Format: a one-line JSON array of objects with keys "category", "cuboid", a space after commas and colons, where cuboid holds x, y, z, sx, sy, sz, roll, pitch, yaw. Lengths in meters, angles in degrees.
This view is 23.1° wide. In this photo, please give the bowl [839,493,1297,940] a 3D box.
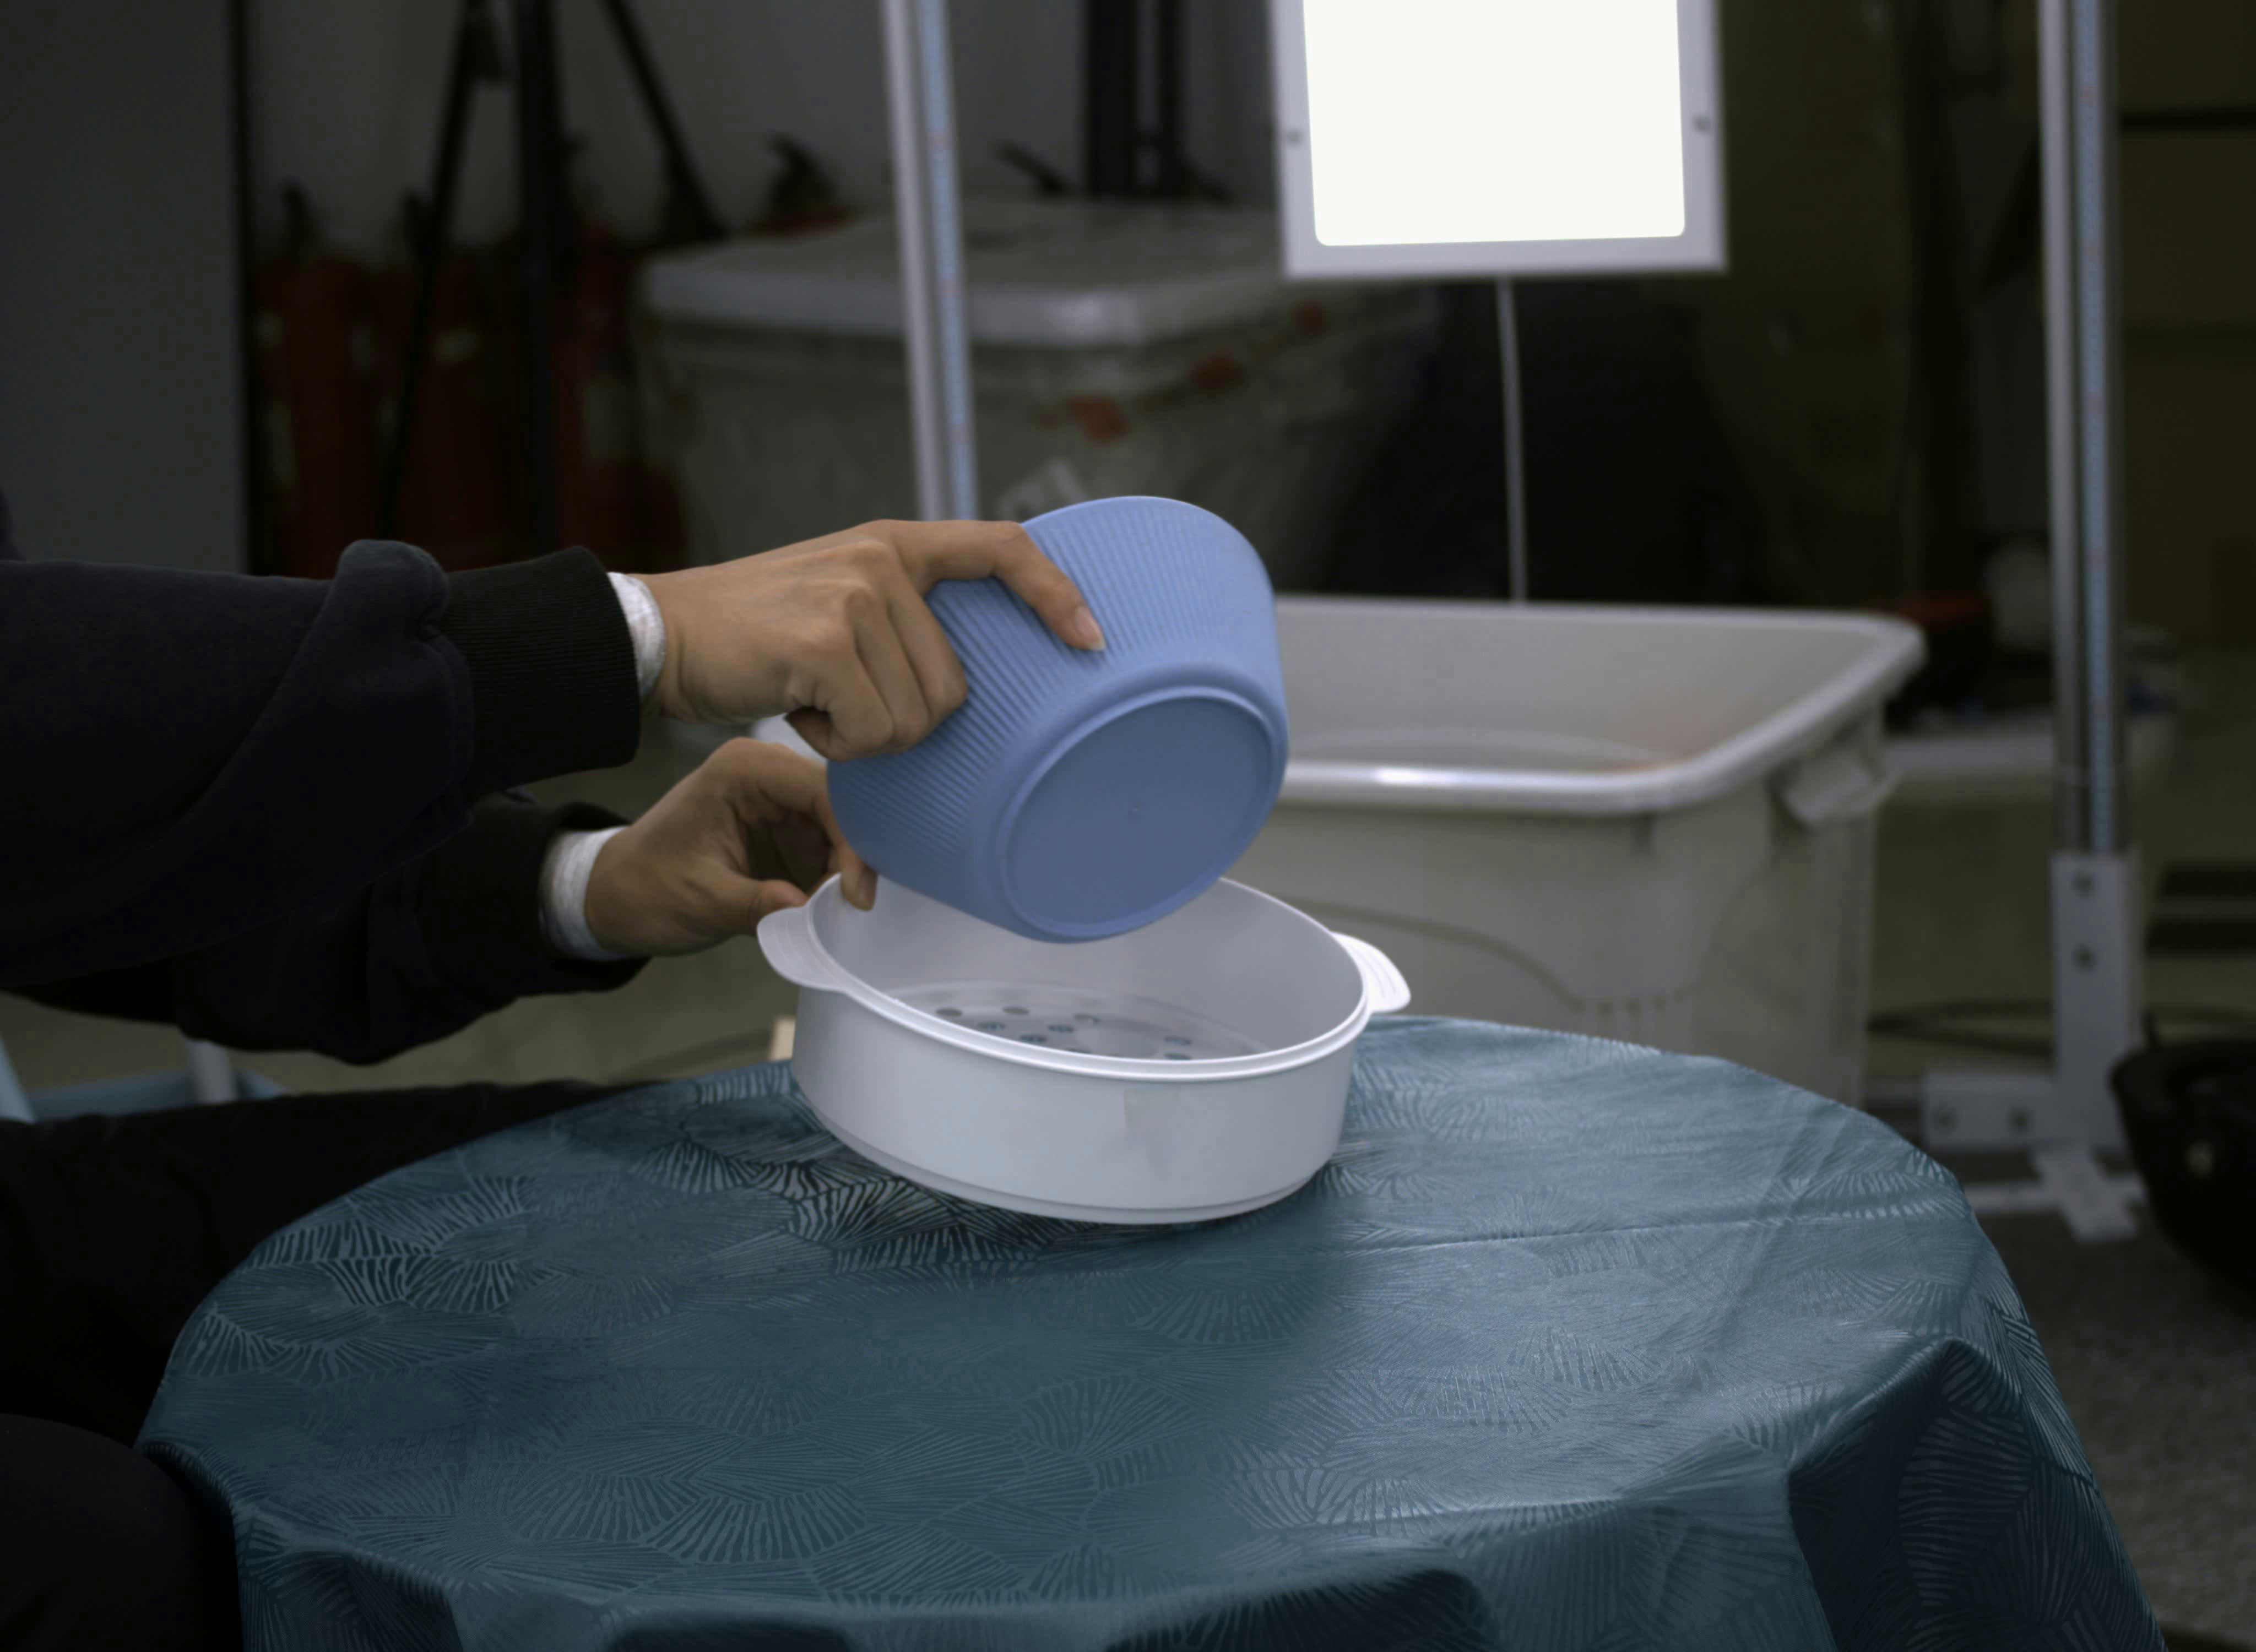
[{"category": "bowl", "cuboid": [-0.008, -0.026, 1.902, 0.172, 0.178, 0.071, -11, 44, -26]}]

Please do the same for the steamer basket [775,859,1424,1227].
[{"category": "steamer basket", "cuboid": [-0.013, 0.072, 1.914, 0.227, 0.070, 0.203, 5, 20, -15]}]
